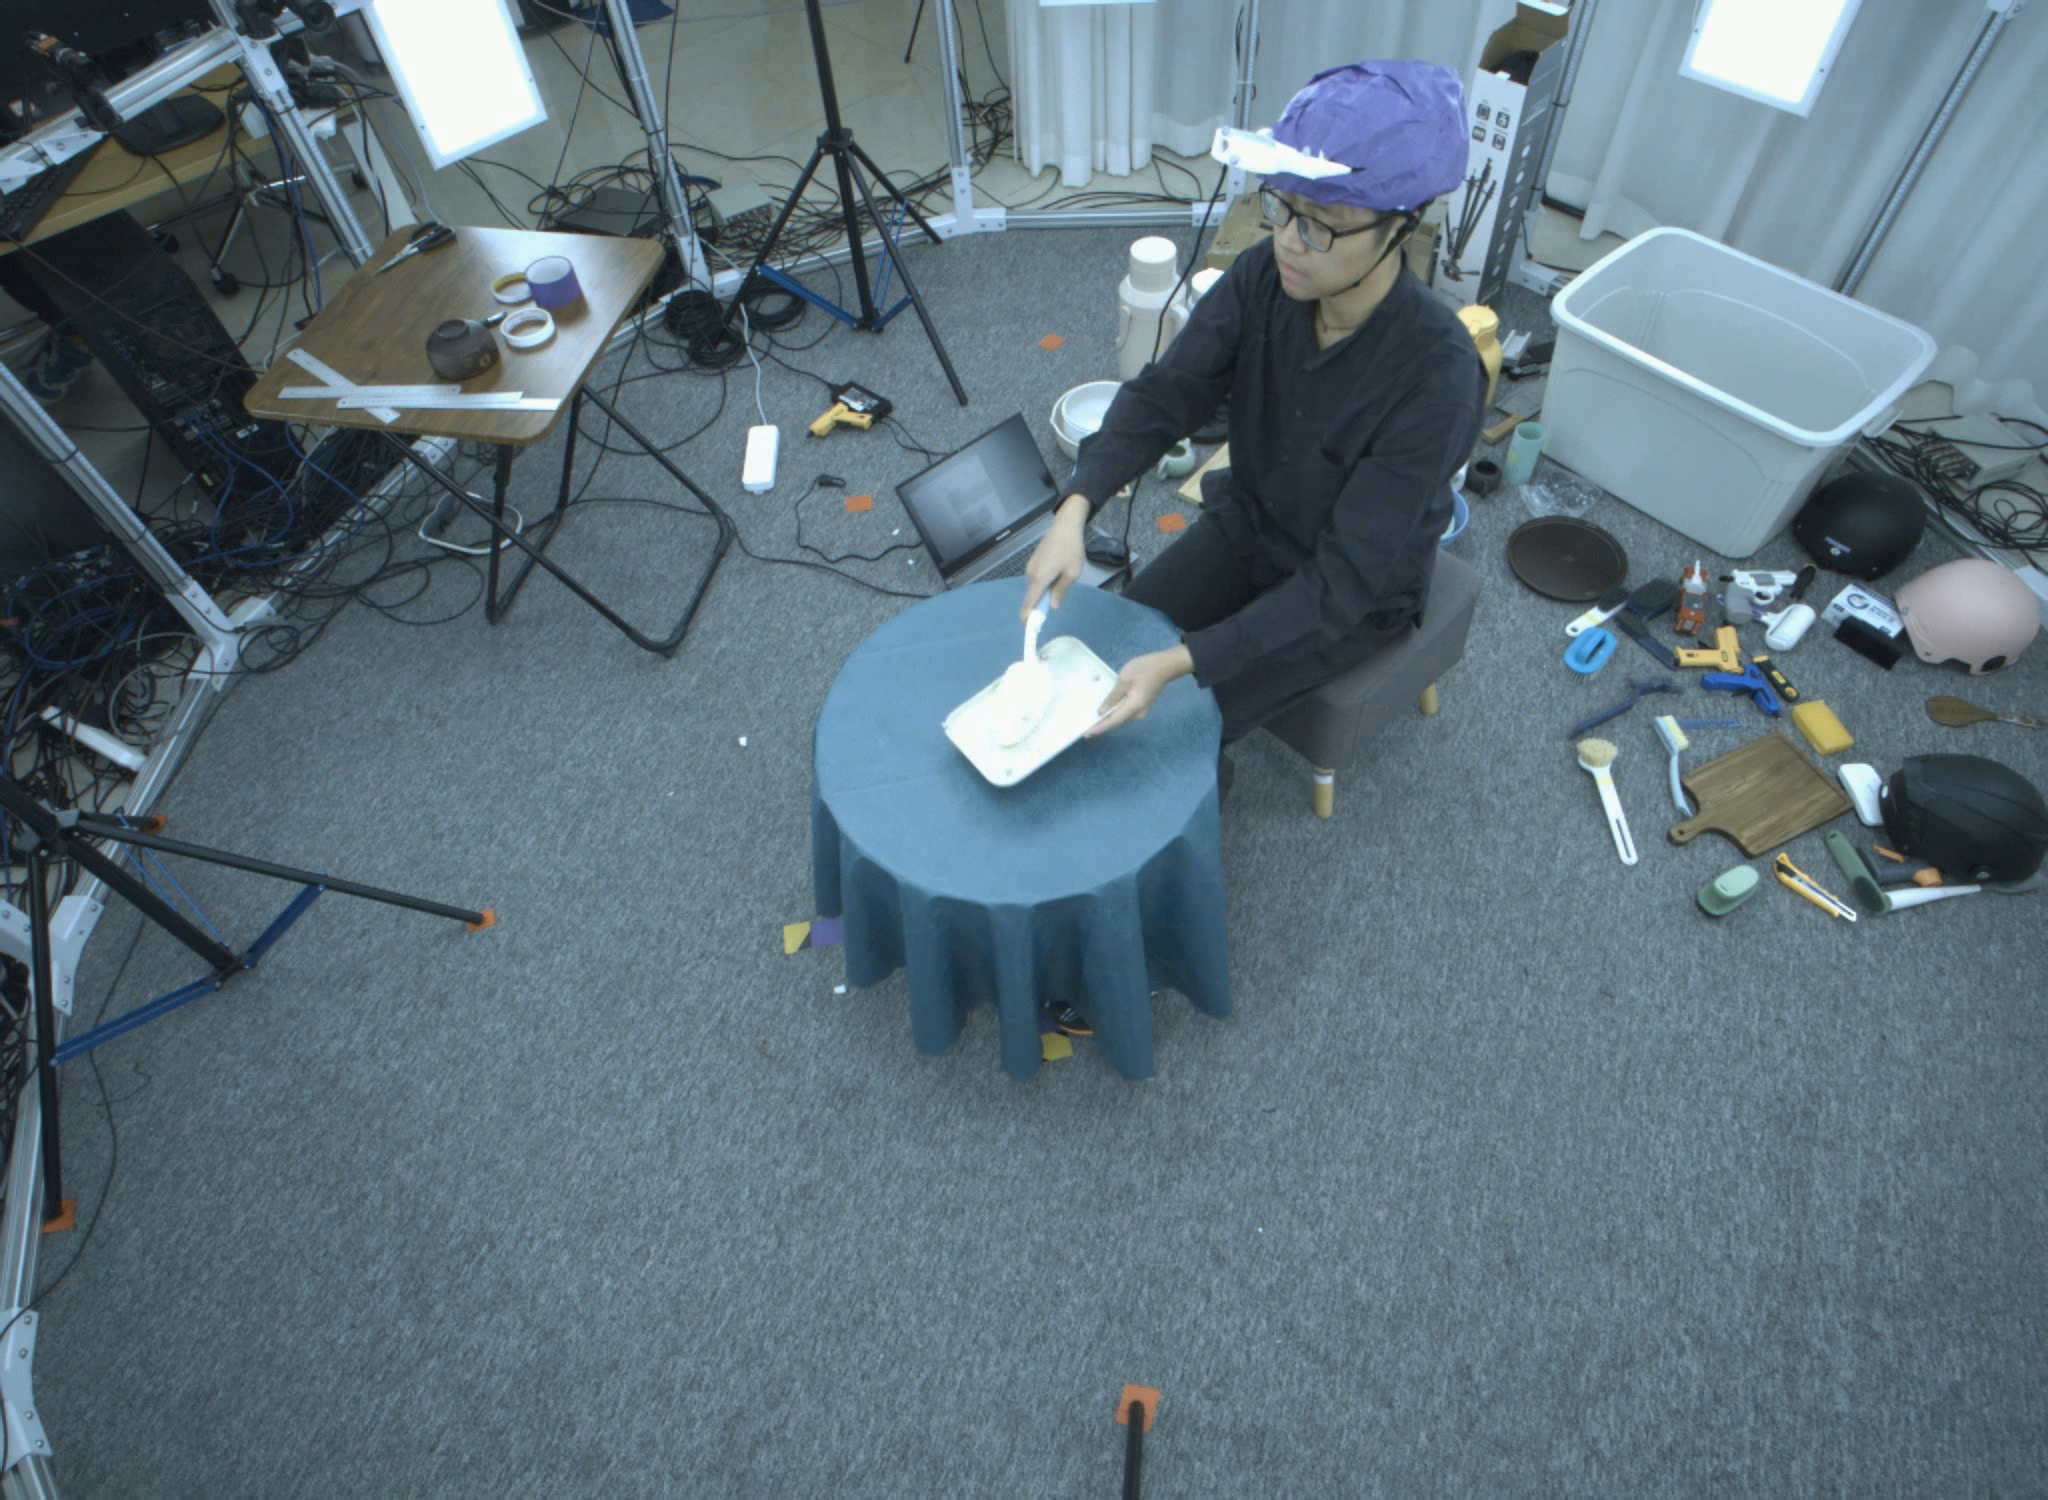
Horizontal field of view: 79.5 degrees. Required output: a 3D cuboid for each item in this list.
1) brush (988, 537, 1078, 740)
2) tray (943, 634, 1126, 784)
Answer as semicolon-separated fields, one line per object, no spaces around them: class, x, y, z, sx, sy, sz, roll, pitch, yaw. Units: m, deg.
brush;0.030;-0.156;1.764;0.084;0.084;0.325;24;71;-9
tray;0.015;-0.059;1.743;0.241;0.018;0.167;-35;53;-11
